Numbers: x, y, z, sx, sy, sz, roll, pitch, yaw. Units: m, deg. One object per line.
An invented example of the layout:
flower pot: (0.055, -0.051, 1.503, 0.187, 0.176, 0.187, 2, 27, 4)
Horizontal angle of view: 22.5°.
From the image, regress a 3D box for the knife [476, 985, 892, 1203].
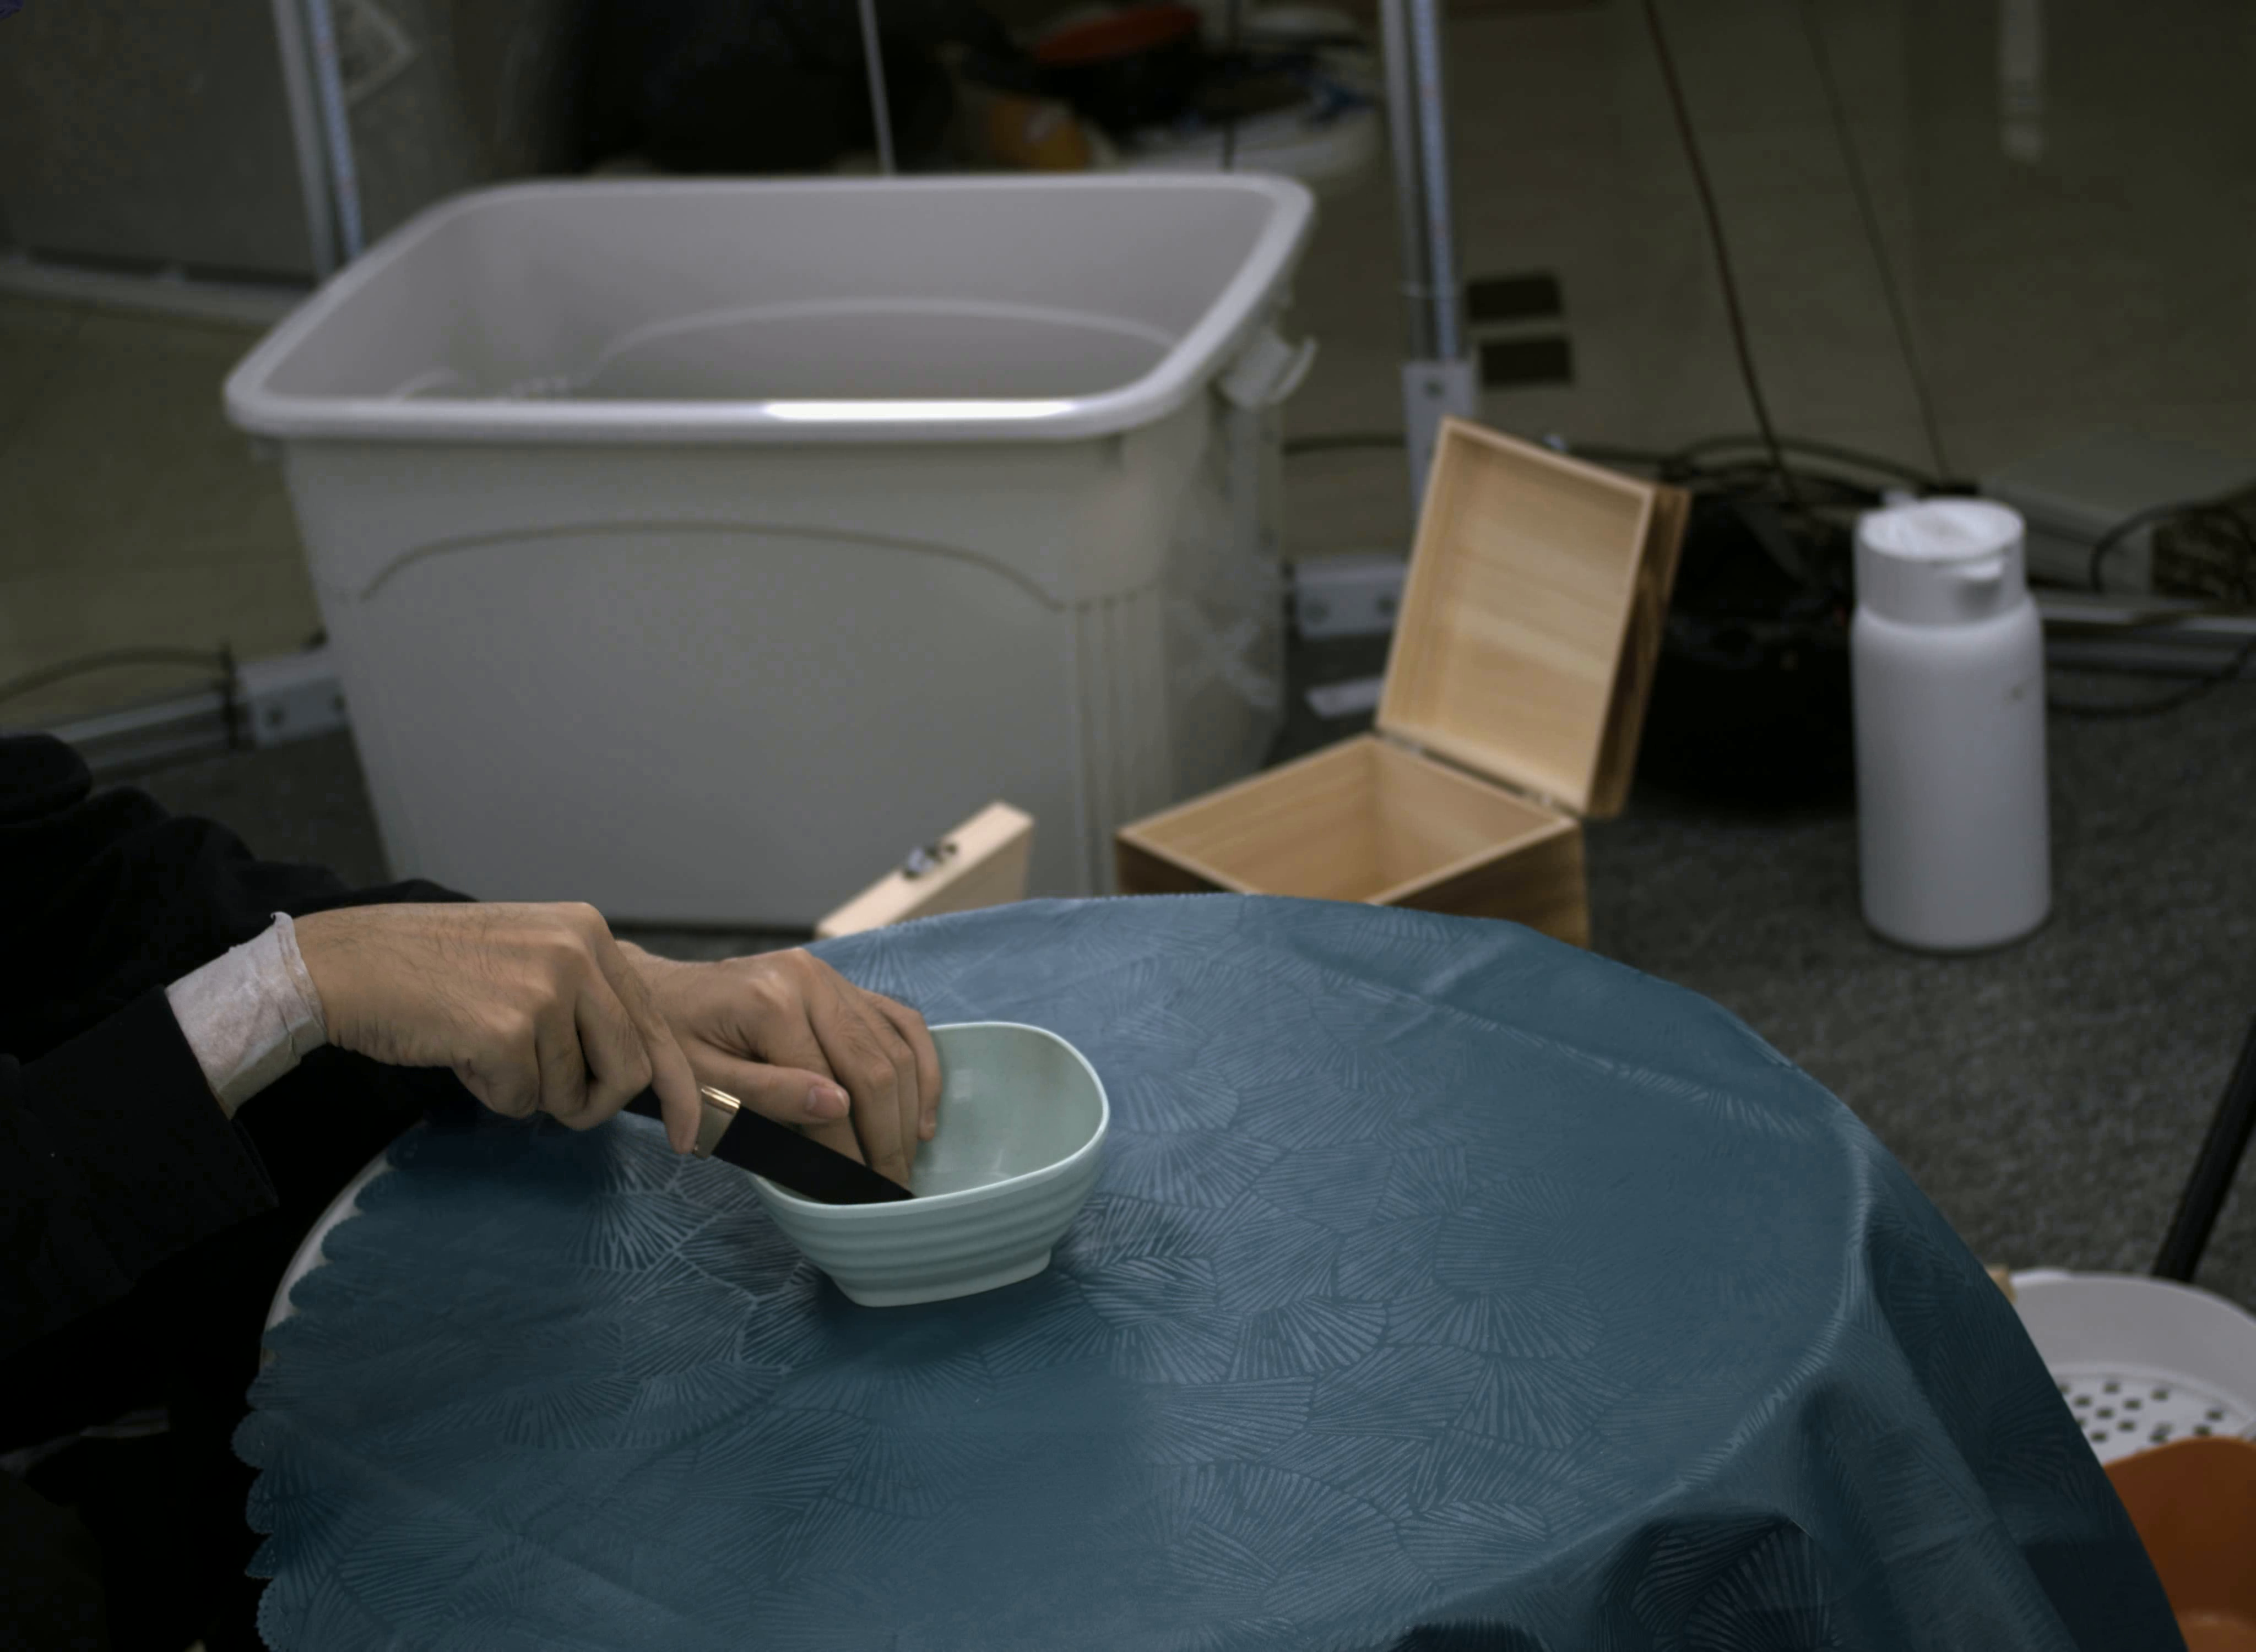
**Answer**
knife: (-0.144, 0.112, 2.051, 0.227, 0.026, 0.017, 30, -1, -30)

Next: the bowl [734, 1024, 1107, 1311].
bowl: (-0.075, 0.133, 2.113, 0.151, 0.059, 0.149, -5, 26, 2)
